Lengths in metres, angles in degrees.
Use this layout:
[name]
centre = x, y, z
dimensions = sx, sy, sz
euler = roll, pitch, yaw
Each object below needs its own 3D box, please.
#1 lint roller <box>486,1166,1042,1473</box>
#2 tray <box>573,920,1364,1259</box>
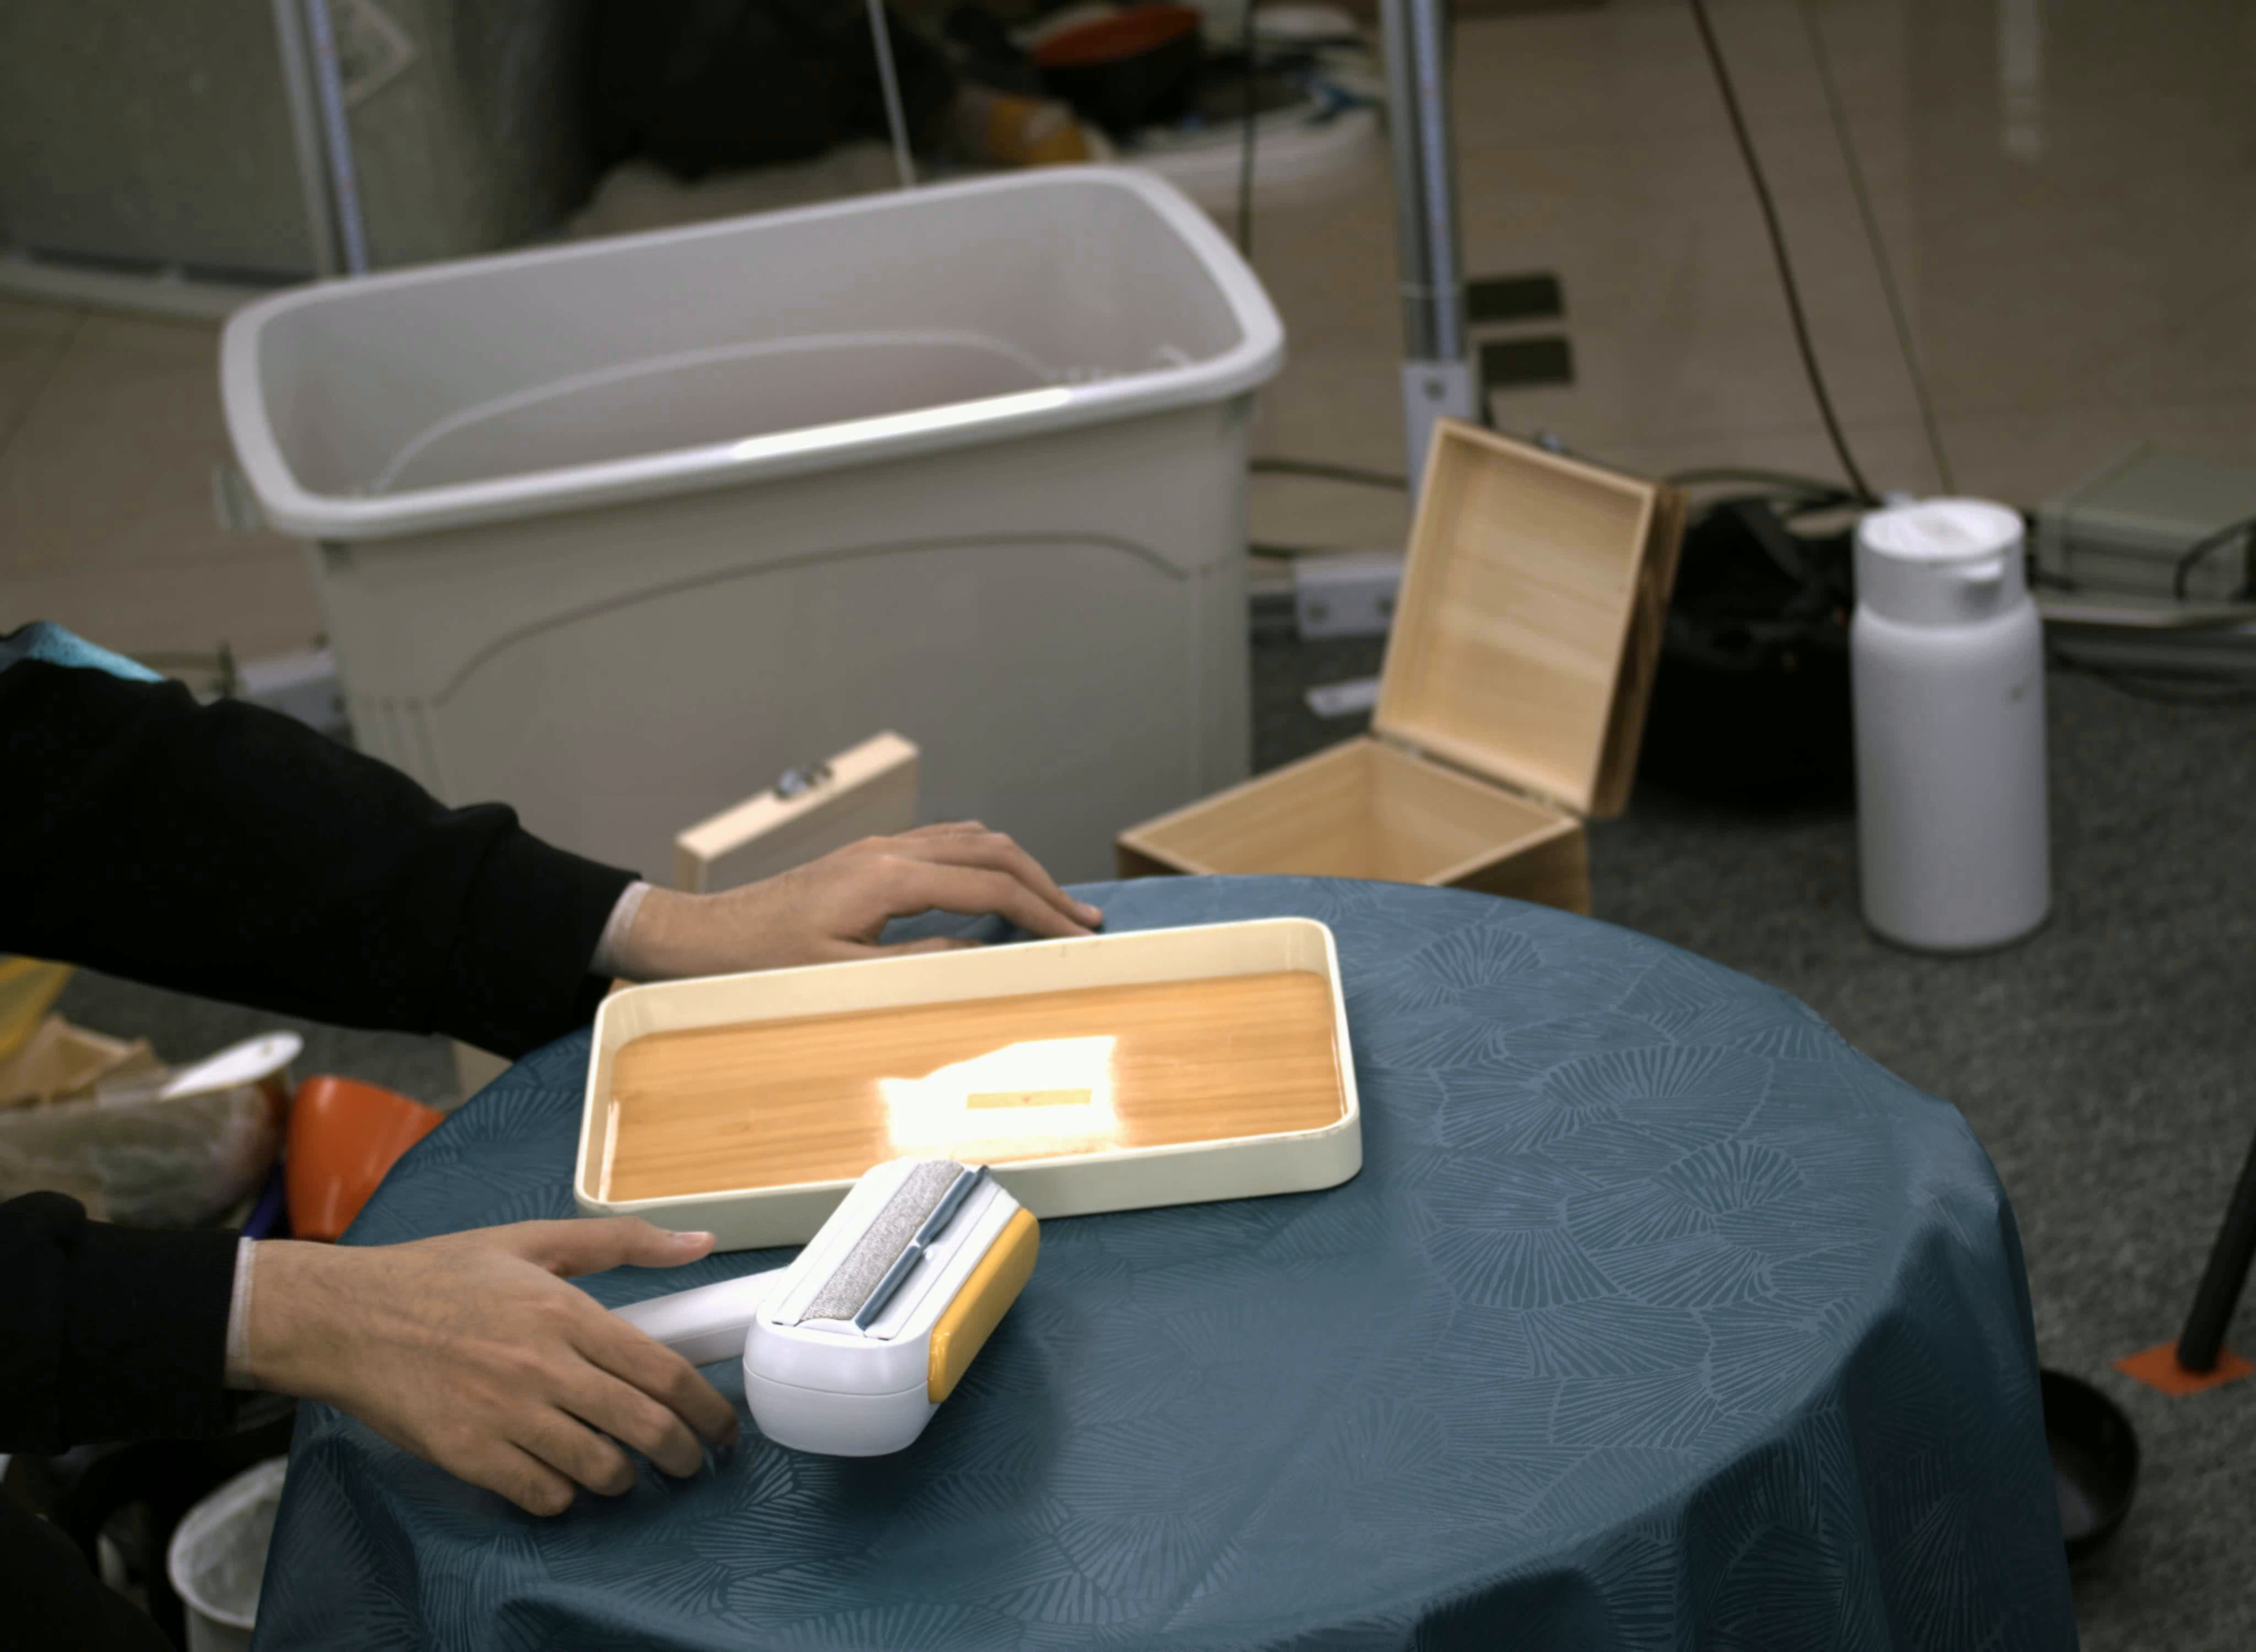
[lint roller]
centre = -0.141, 0.178, 2.016
dimensions = 0.192, 0.075, 0.190
euler = 0, 20, 17
[tray]
centre = -0.062, 0.101, 2.209
dimensions = 0.300, 0.028, 0.189
euler = -6, 24, 1
